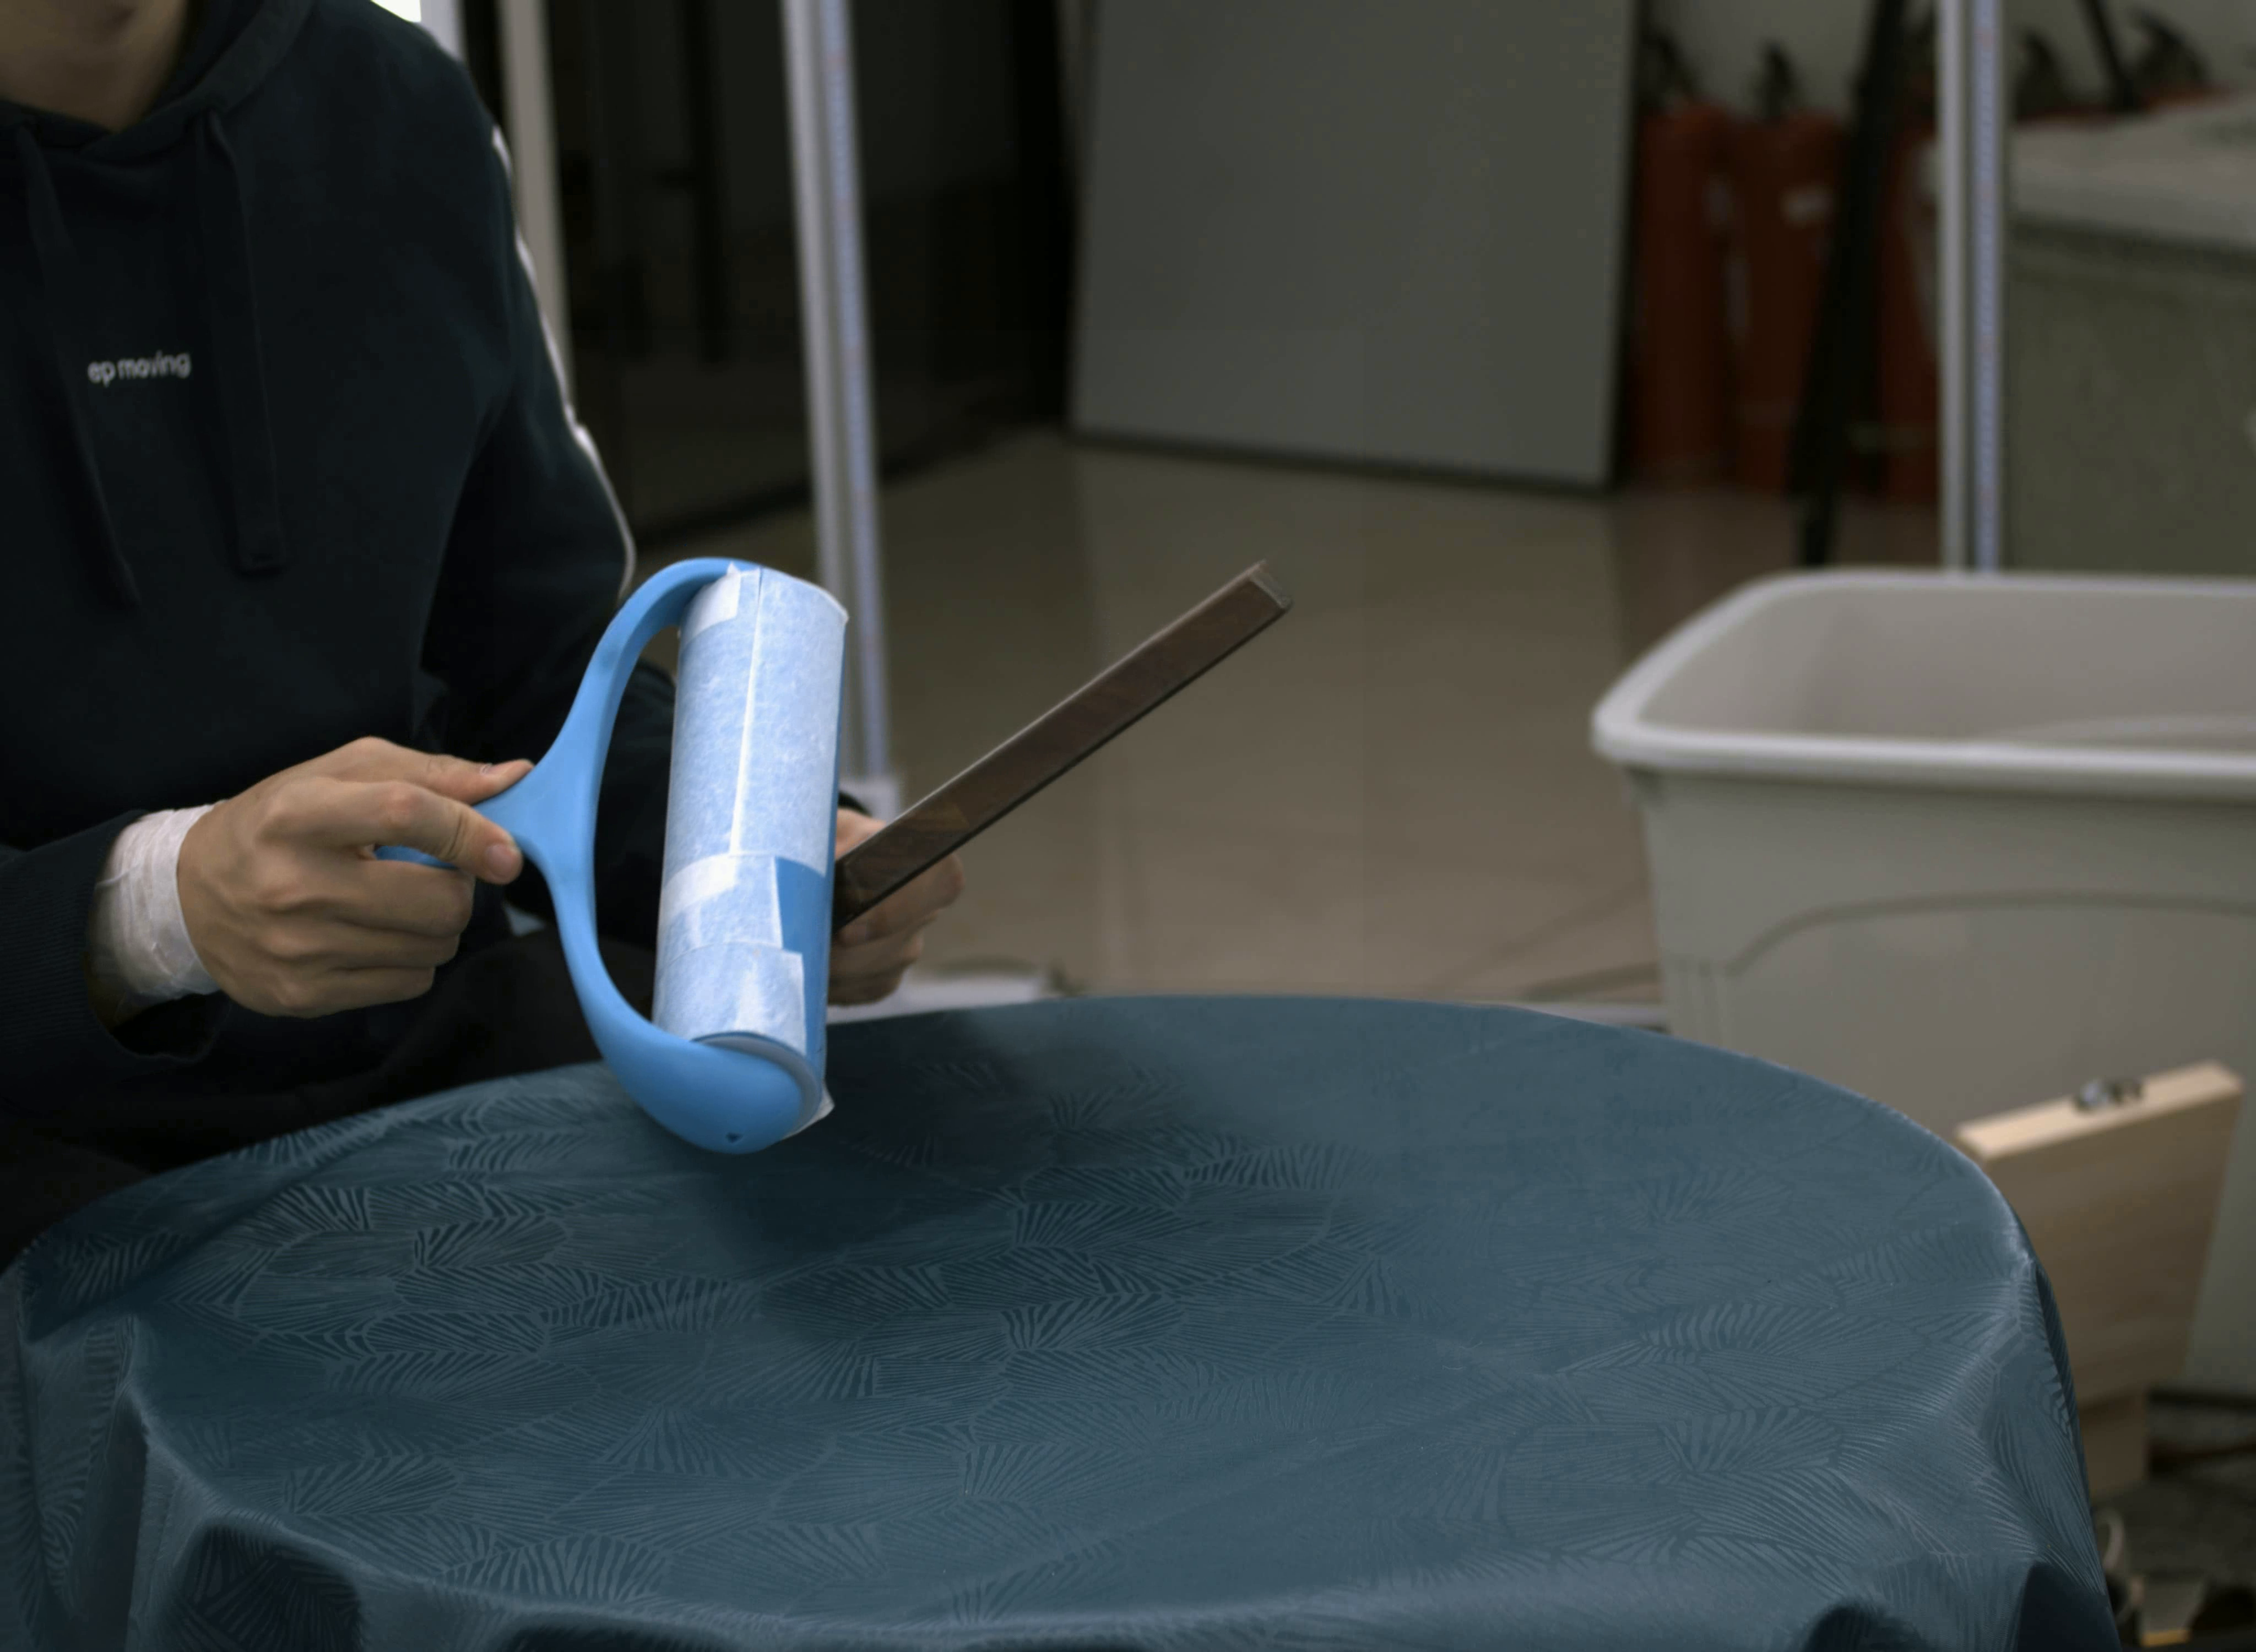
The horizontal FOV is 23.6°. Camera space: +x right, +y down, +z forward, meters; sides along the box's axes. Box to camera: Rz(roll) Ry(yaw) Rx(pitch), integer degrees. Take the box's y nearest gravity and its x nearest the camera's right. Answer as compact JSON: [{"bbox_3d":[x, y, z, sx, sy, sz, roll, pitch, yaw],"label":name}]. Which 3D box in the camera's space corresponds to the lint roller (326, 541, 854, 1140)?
[{"bbox_3d":[-0.171,0.012,1.682,0.179,0.068,0.231,-10,48,7],"label":"lint roller"}]

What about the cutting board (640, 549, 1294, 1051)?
[{"bbox_3d":[-0.077,0.008,1.881,0.198,0.023,0.355,-37,1,-24],"label":"cutting board"}]
